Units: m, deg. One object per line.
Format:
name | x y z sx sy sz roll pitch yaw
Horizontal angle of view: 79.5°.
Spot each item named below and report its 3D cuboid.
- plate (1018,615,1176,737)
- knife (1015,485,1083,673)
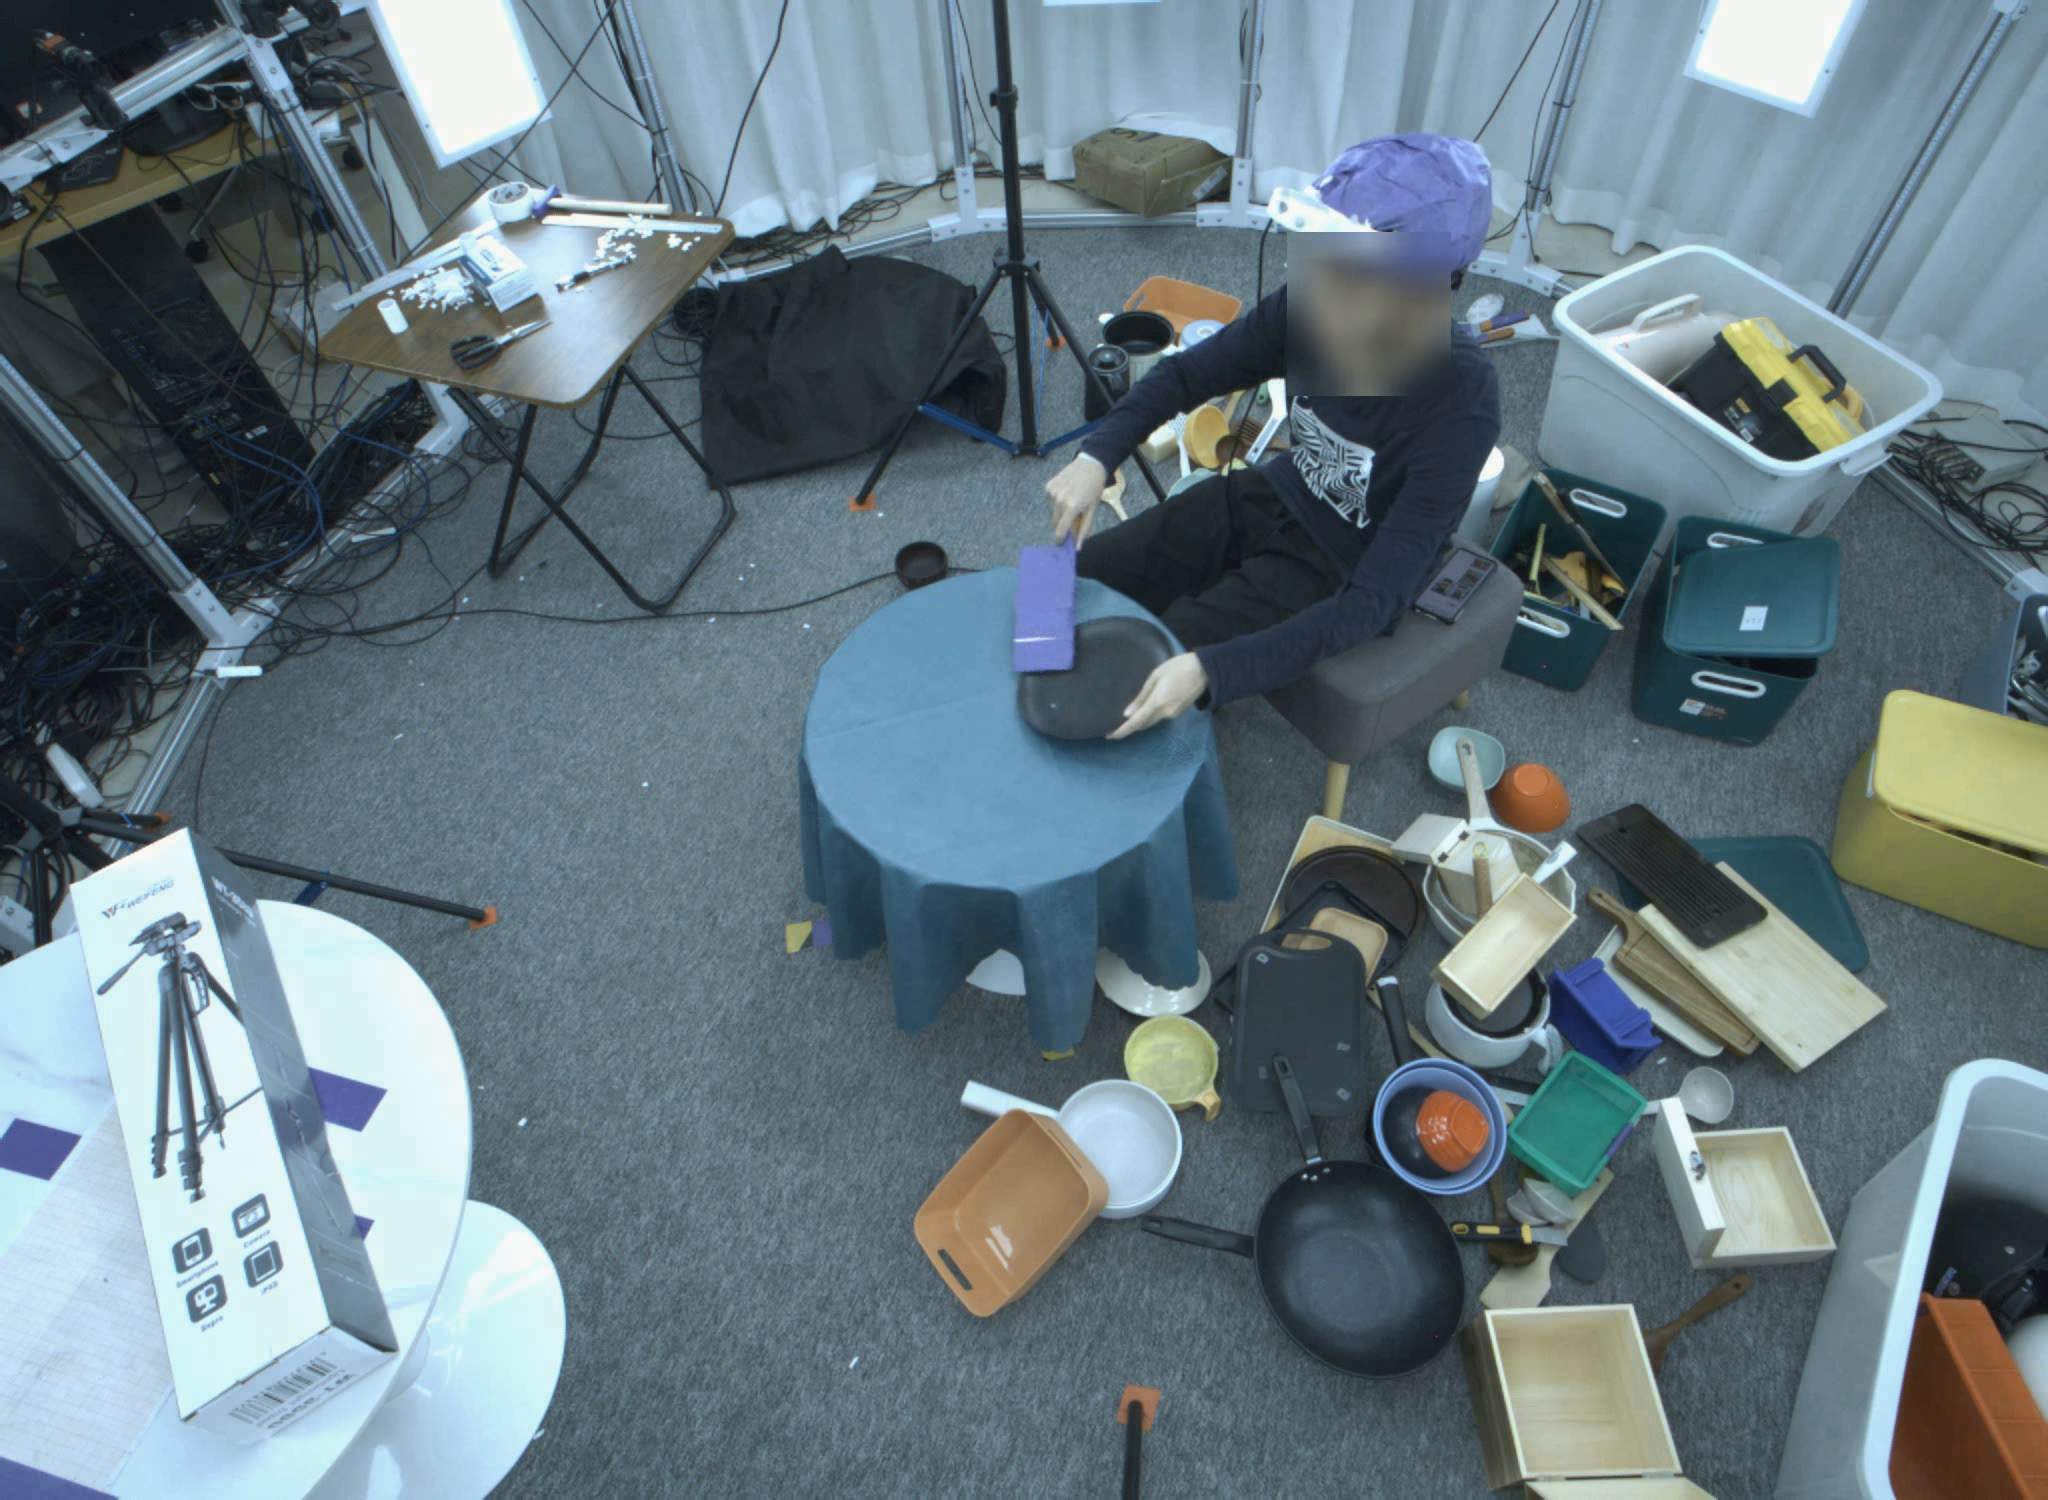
plate | 0.109 -0.106 1.822 0.242 0.024 0.242 -11 47 14
knife | 0.038 -0.267 1.897 0.103 0.032 0.313 -2 71 7
